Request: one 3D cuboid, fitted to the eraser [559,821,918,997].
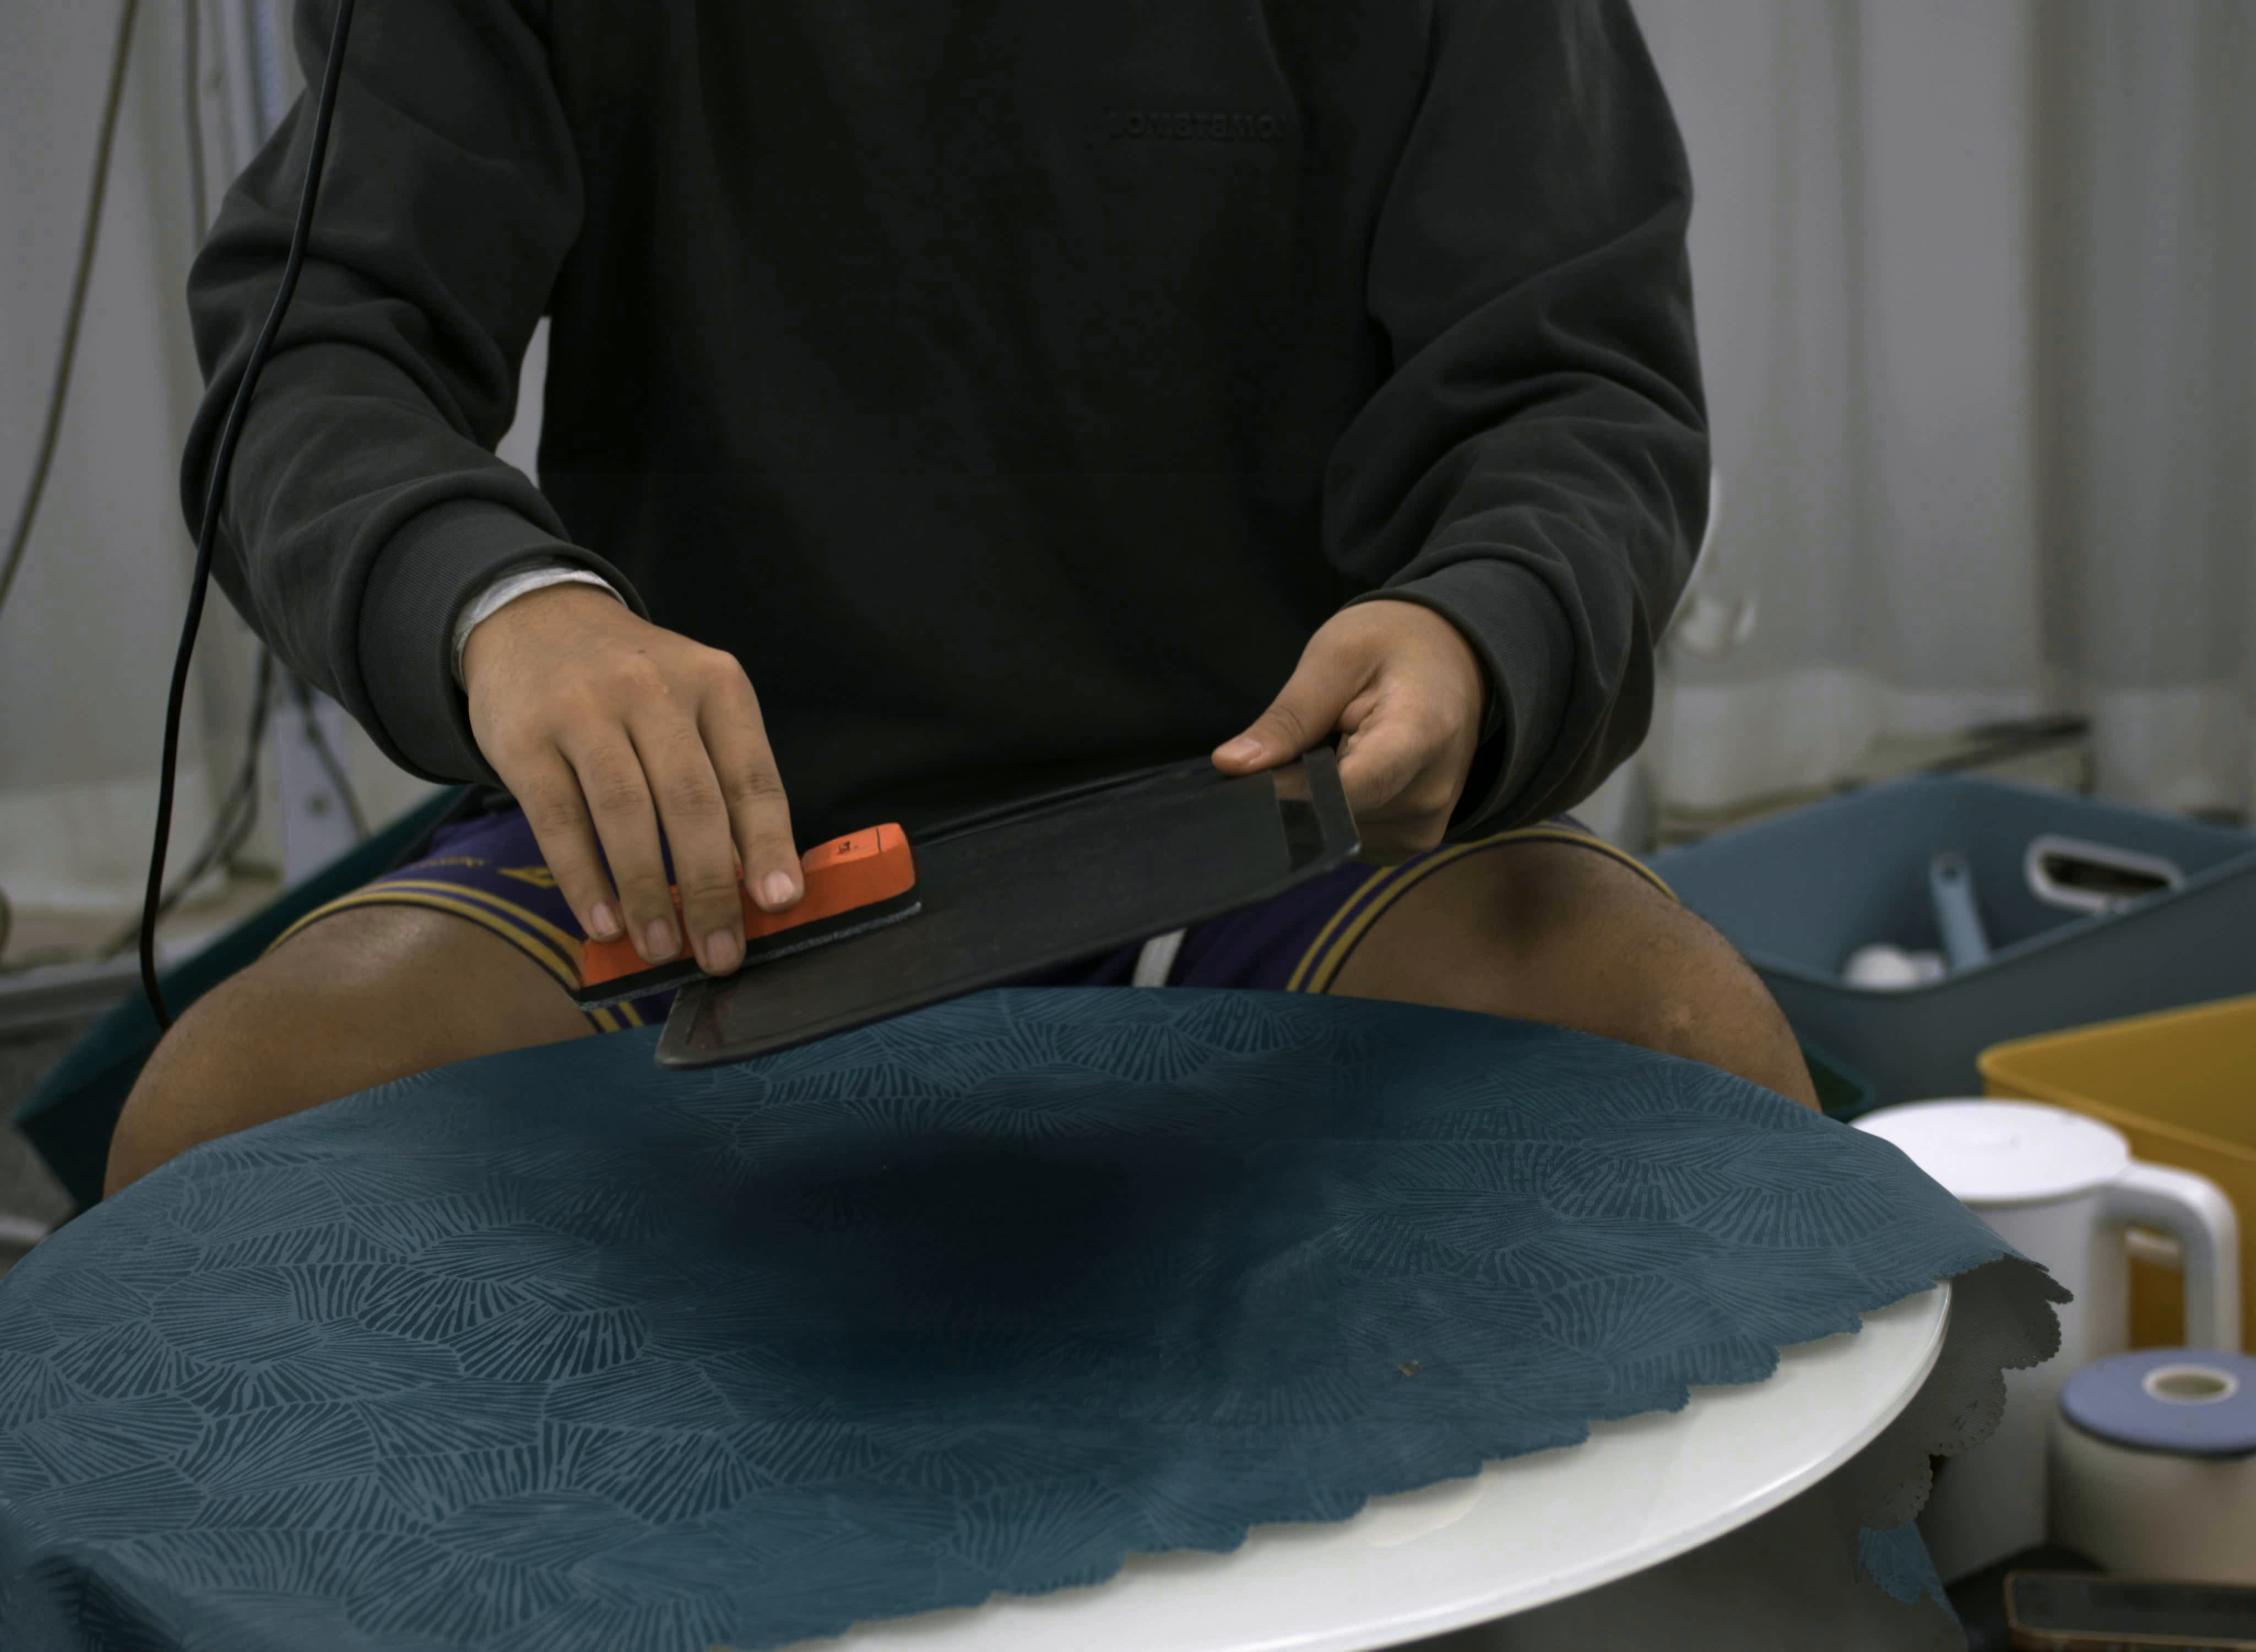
[{"bbox_3d":[-0.119,0.025,1.669,0.108,0.023,0.059,-15,8,-2],"label":"eraser"}]

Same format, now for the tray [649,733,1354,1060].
[{"bbox_3d":[-0.037,0.016,1.664,0.210,0.010,0.327,-16,9,3],"label":"tray"}]
